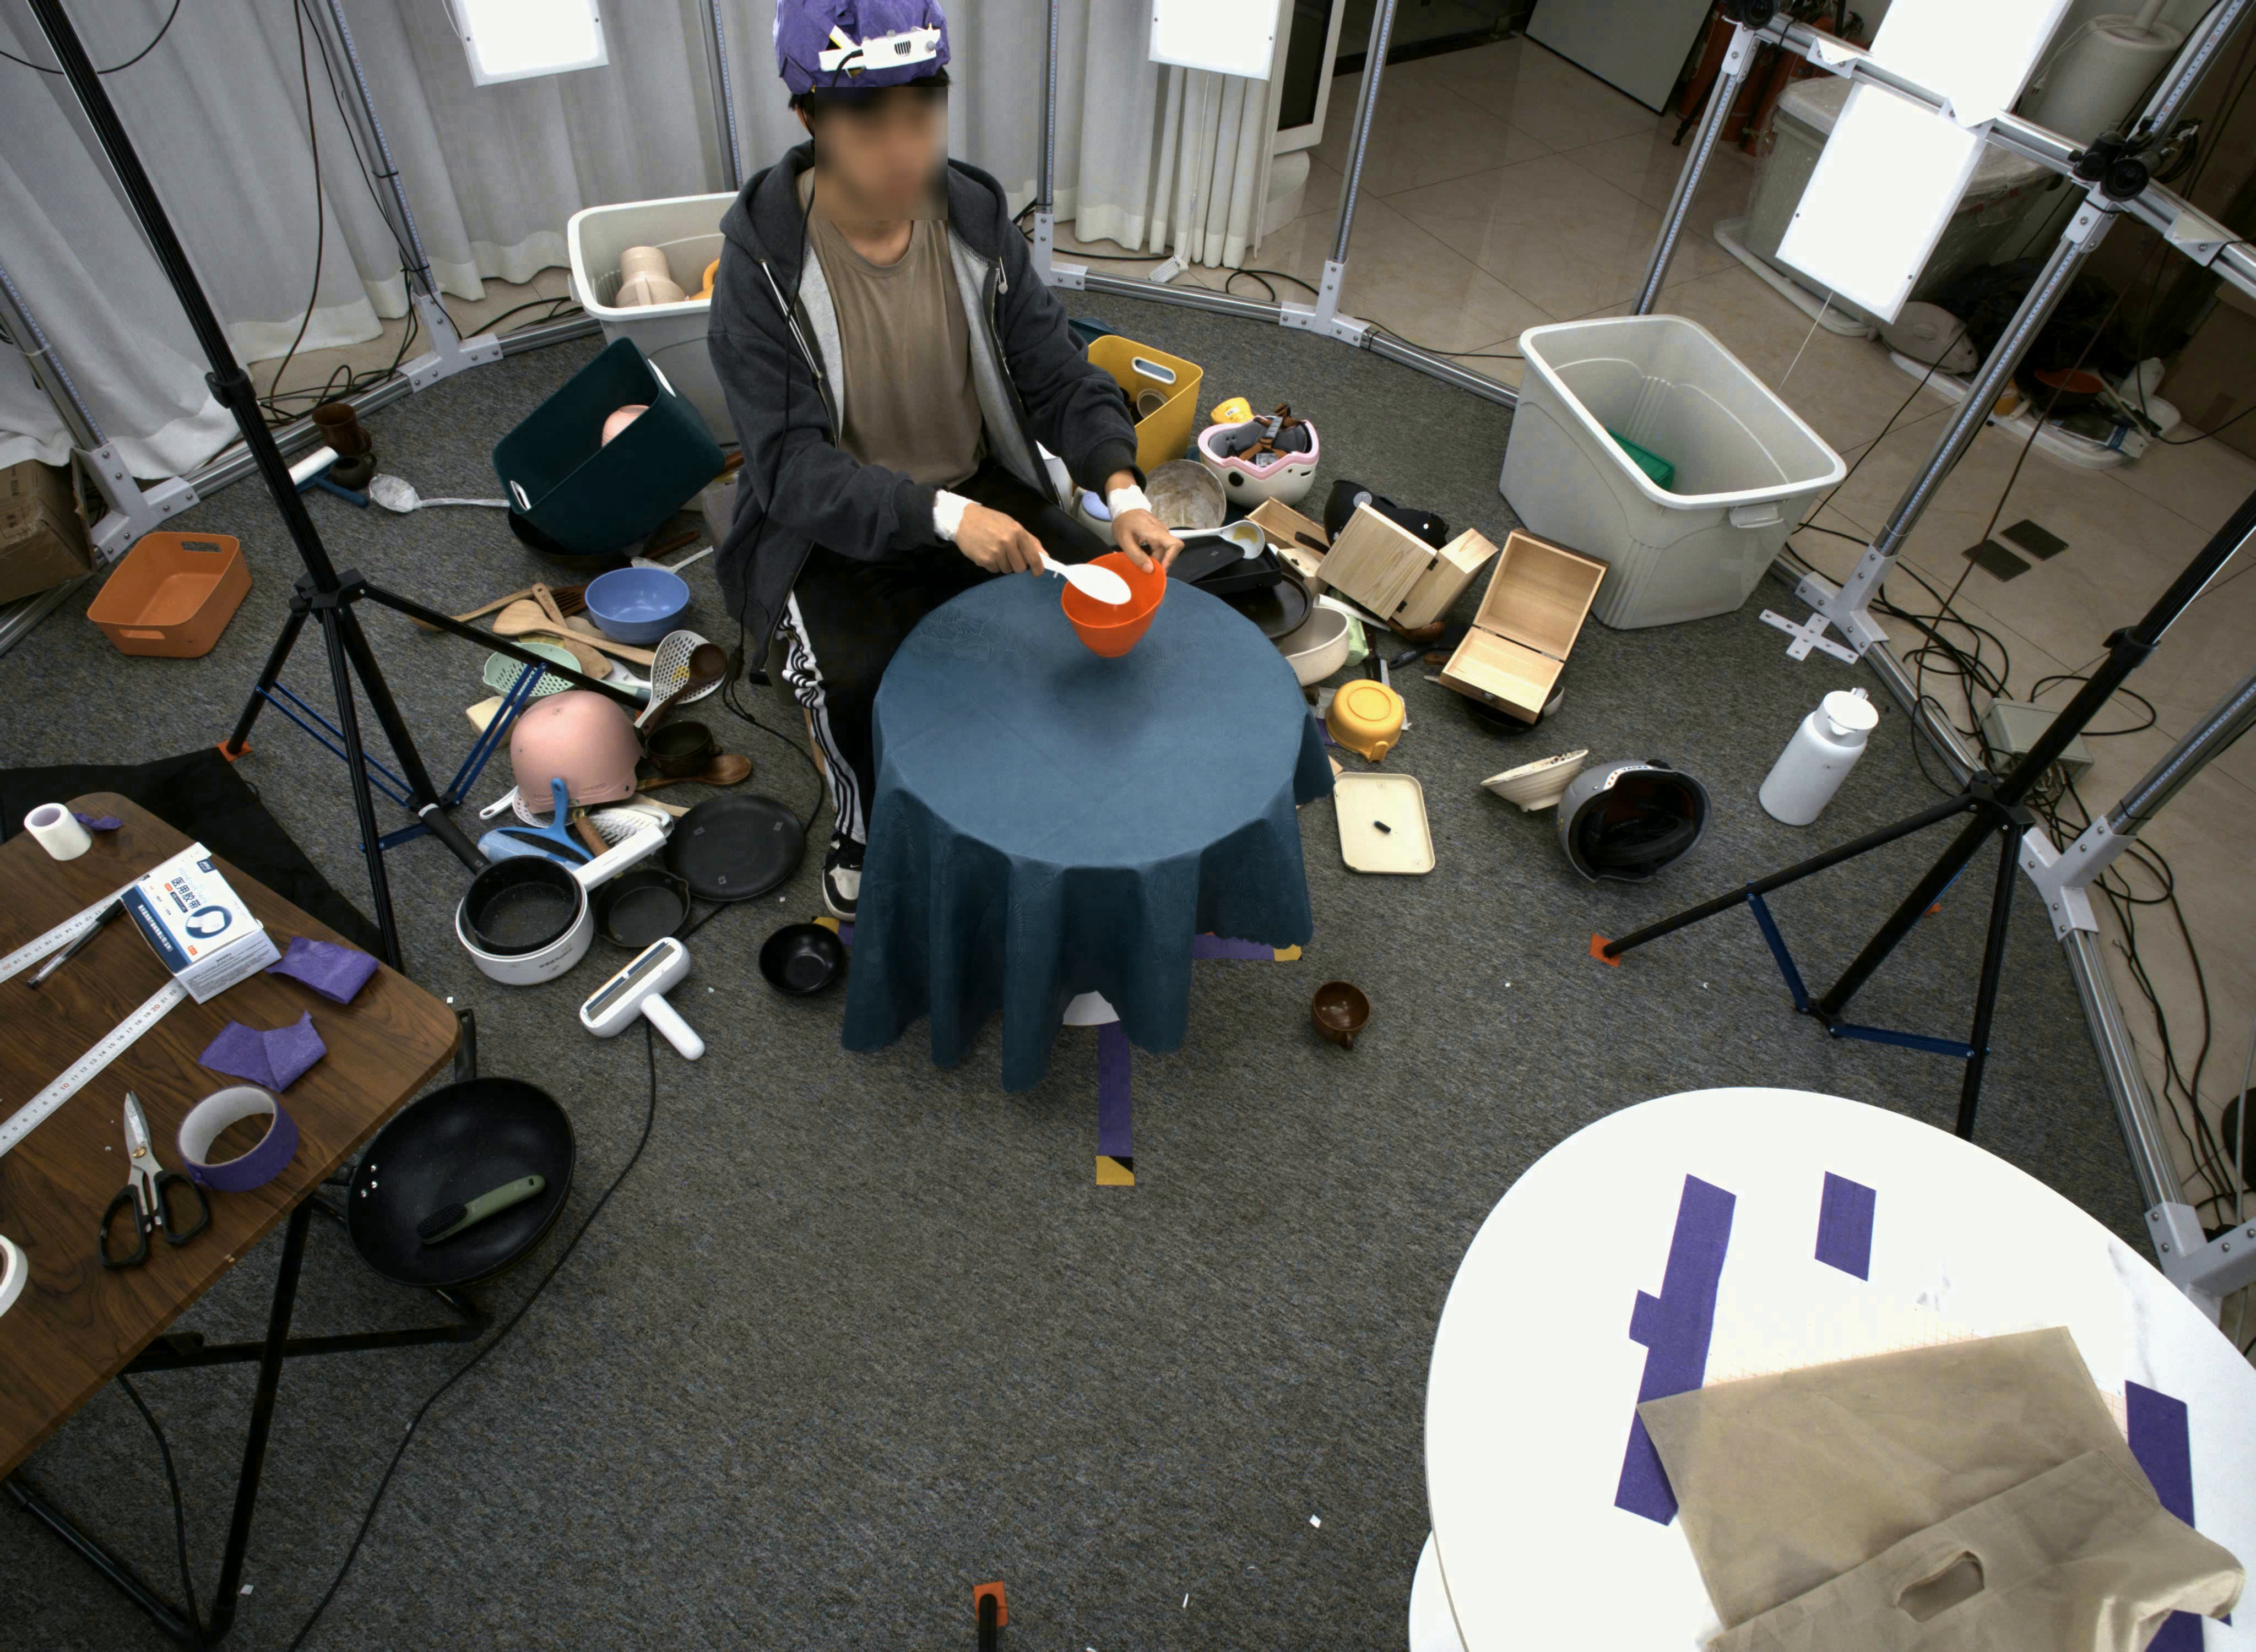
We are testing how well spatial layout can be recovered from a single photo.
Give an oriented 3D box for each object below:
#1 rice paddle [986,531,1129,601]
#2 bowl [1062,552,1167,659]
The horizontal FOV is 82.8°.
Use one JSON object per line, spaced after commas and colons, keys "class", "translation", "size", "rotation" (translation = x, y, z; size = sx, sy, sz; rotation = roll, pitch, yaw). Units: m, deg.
{"class": "rice paddle", "translation": [-0.092, -0.355, 1.762], "size": [0.204, 0.029, 0.070], "rotation": [17, 48, -14]}
{"class": "bowl", "translation": [-0.016, -0.300, 1.802], "size": [0.148, 0.102, 0.152], "rotation": [-3, 48, 3]}
